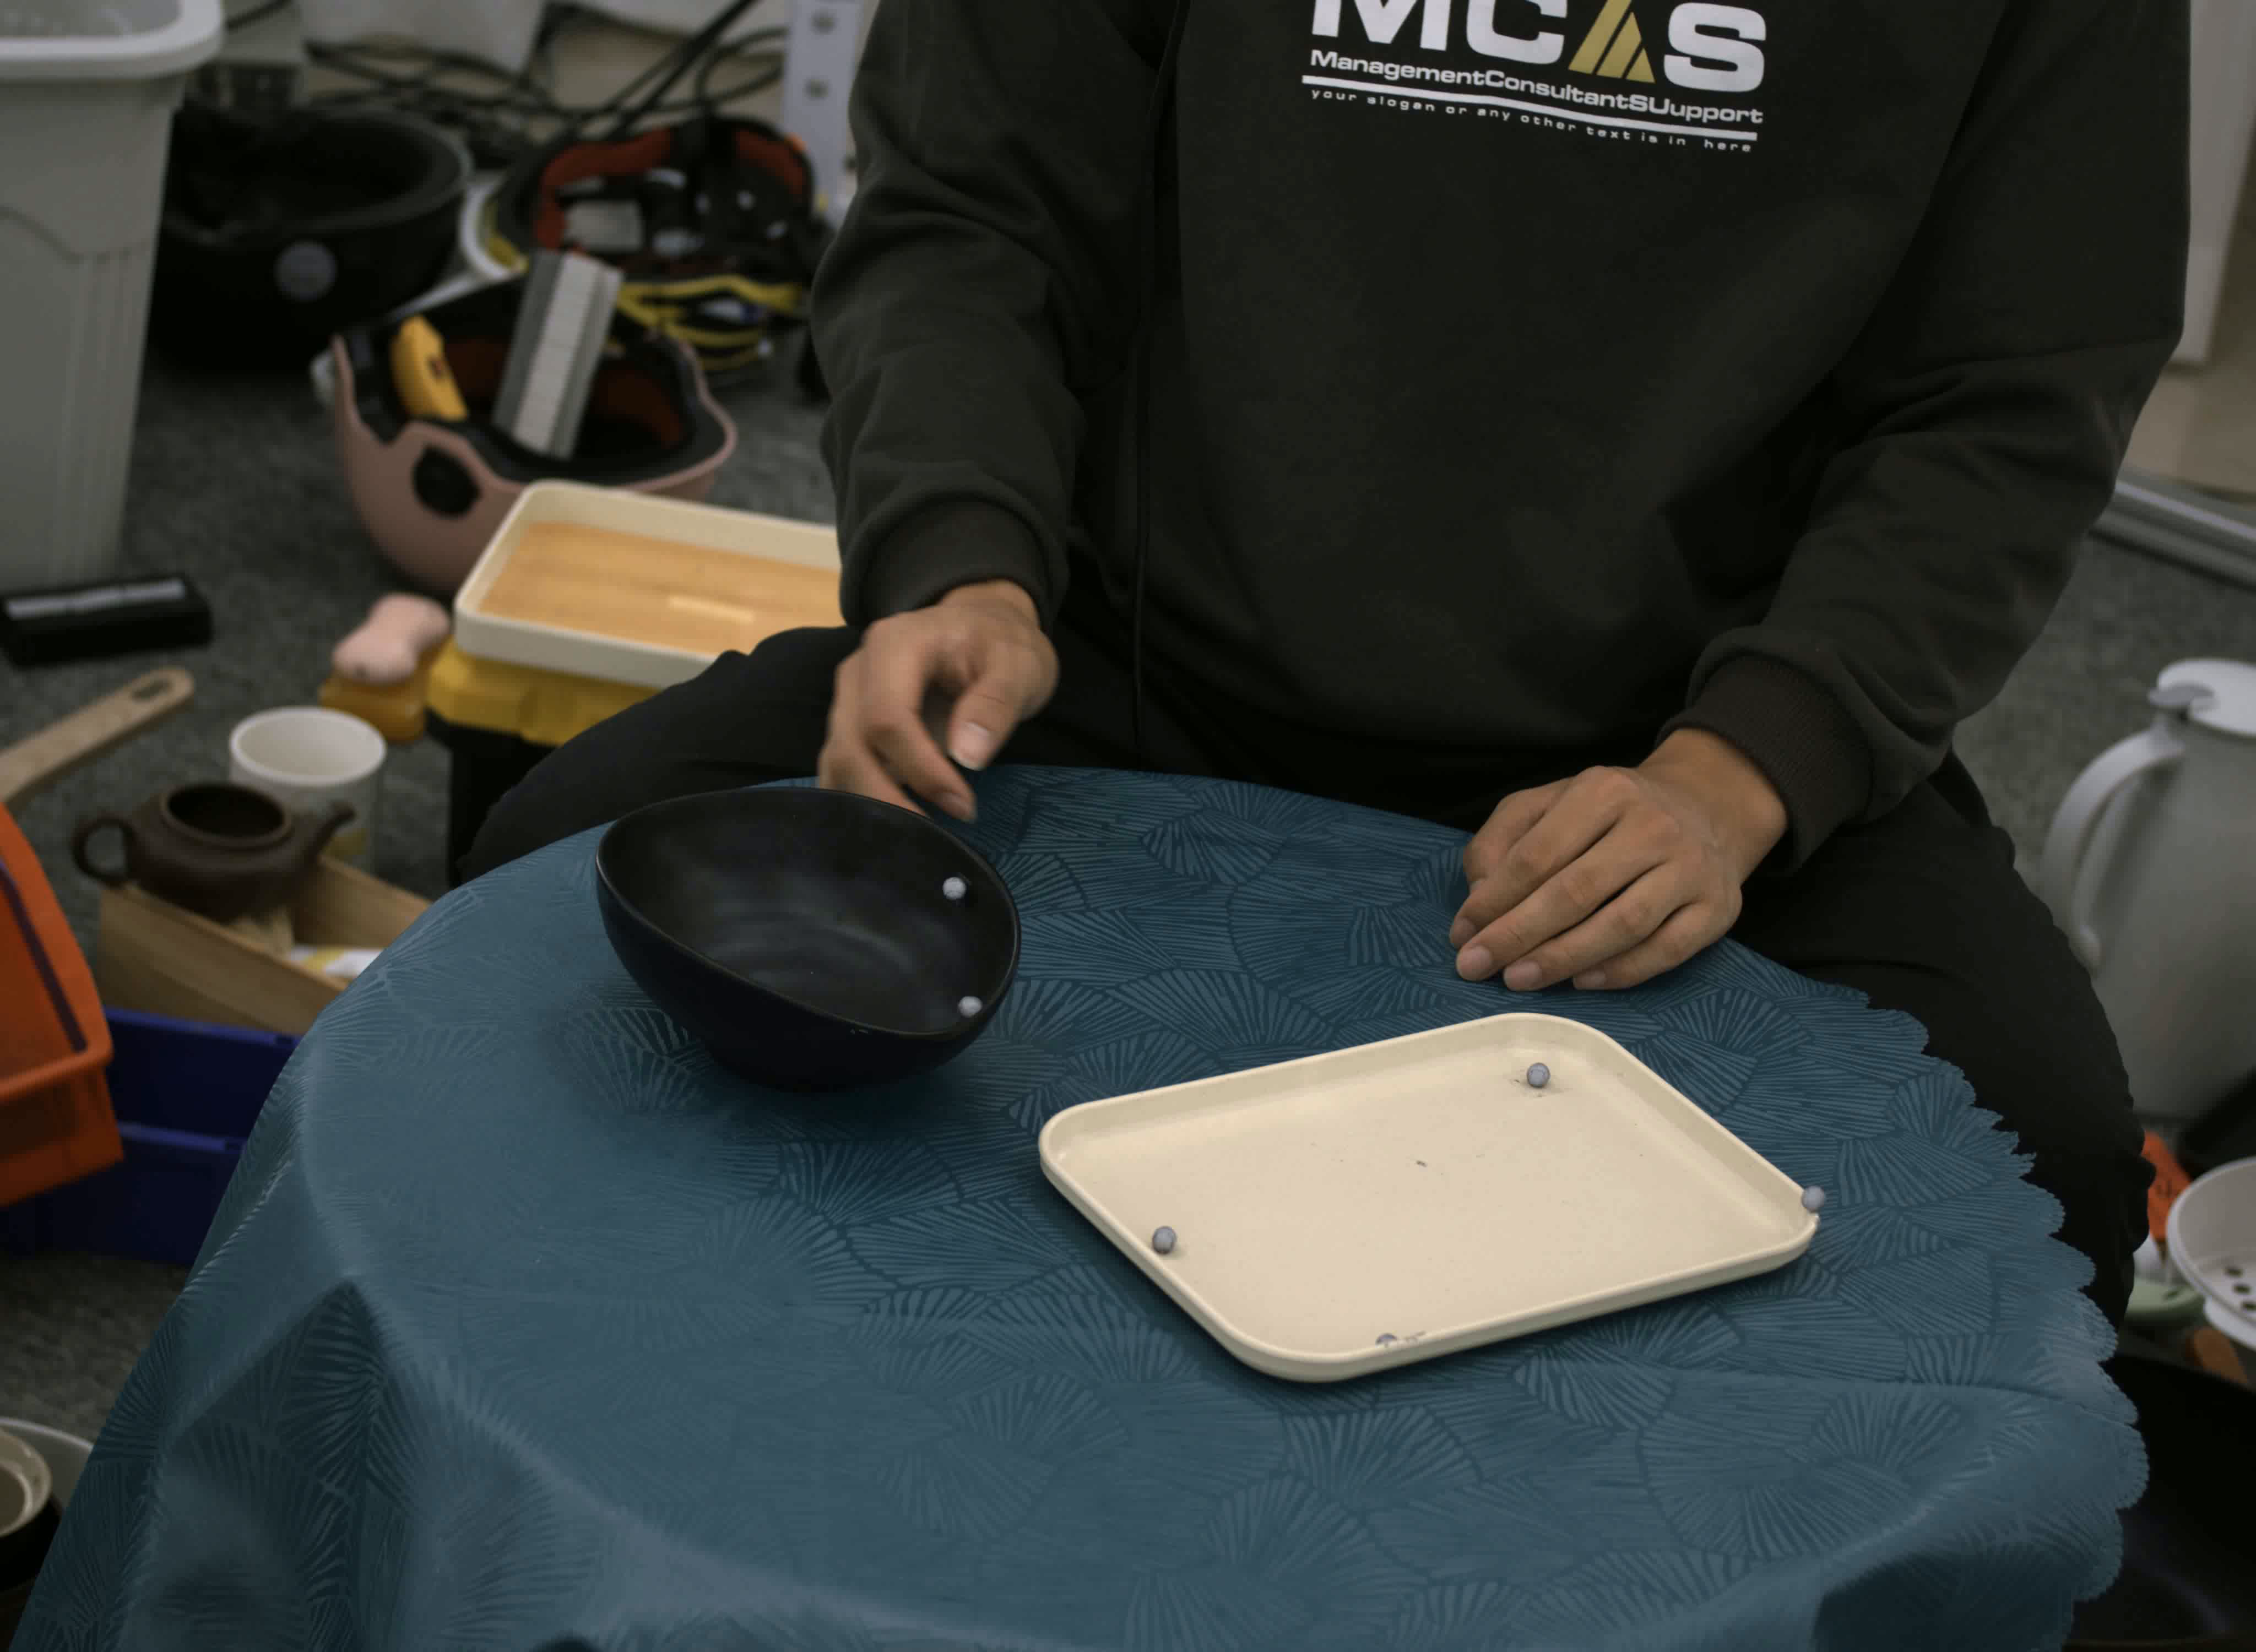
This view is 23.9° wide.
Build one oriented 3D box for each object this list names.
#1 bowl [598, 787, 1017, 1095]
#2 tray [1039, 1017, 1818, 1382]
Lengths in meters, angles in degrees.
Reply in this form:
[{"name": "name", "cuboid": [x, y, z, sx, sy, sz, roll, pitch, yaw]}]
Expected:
[{"name": "bowl", "cuboid": [-0.113, 0.048, 1.860, 0.136, 0.066, 0.172, -16, 36, -37]}, {"name": "tray", "cuboid": [0.102, 0.126, 1.807, 0.238, 0.017, 0.173, -10, 31, -31]}]
